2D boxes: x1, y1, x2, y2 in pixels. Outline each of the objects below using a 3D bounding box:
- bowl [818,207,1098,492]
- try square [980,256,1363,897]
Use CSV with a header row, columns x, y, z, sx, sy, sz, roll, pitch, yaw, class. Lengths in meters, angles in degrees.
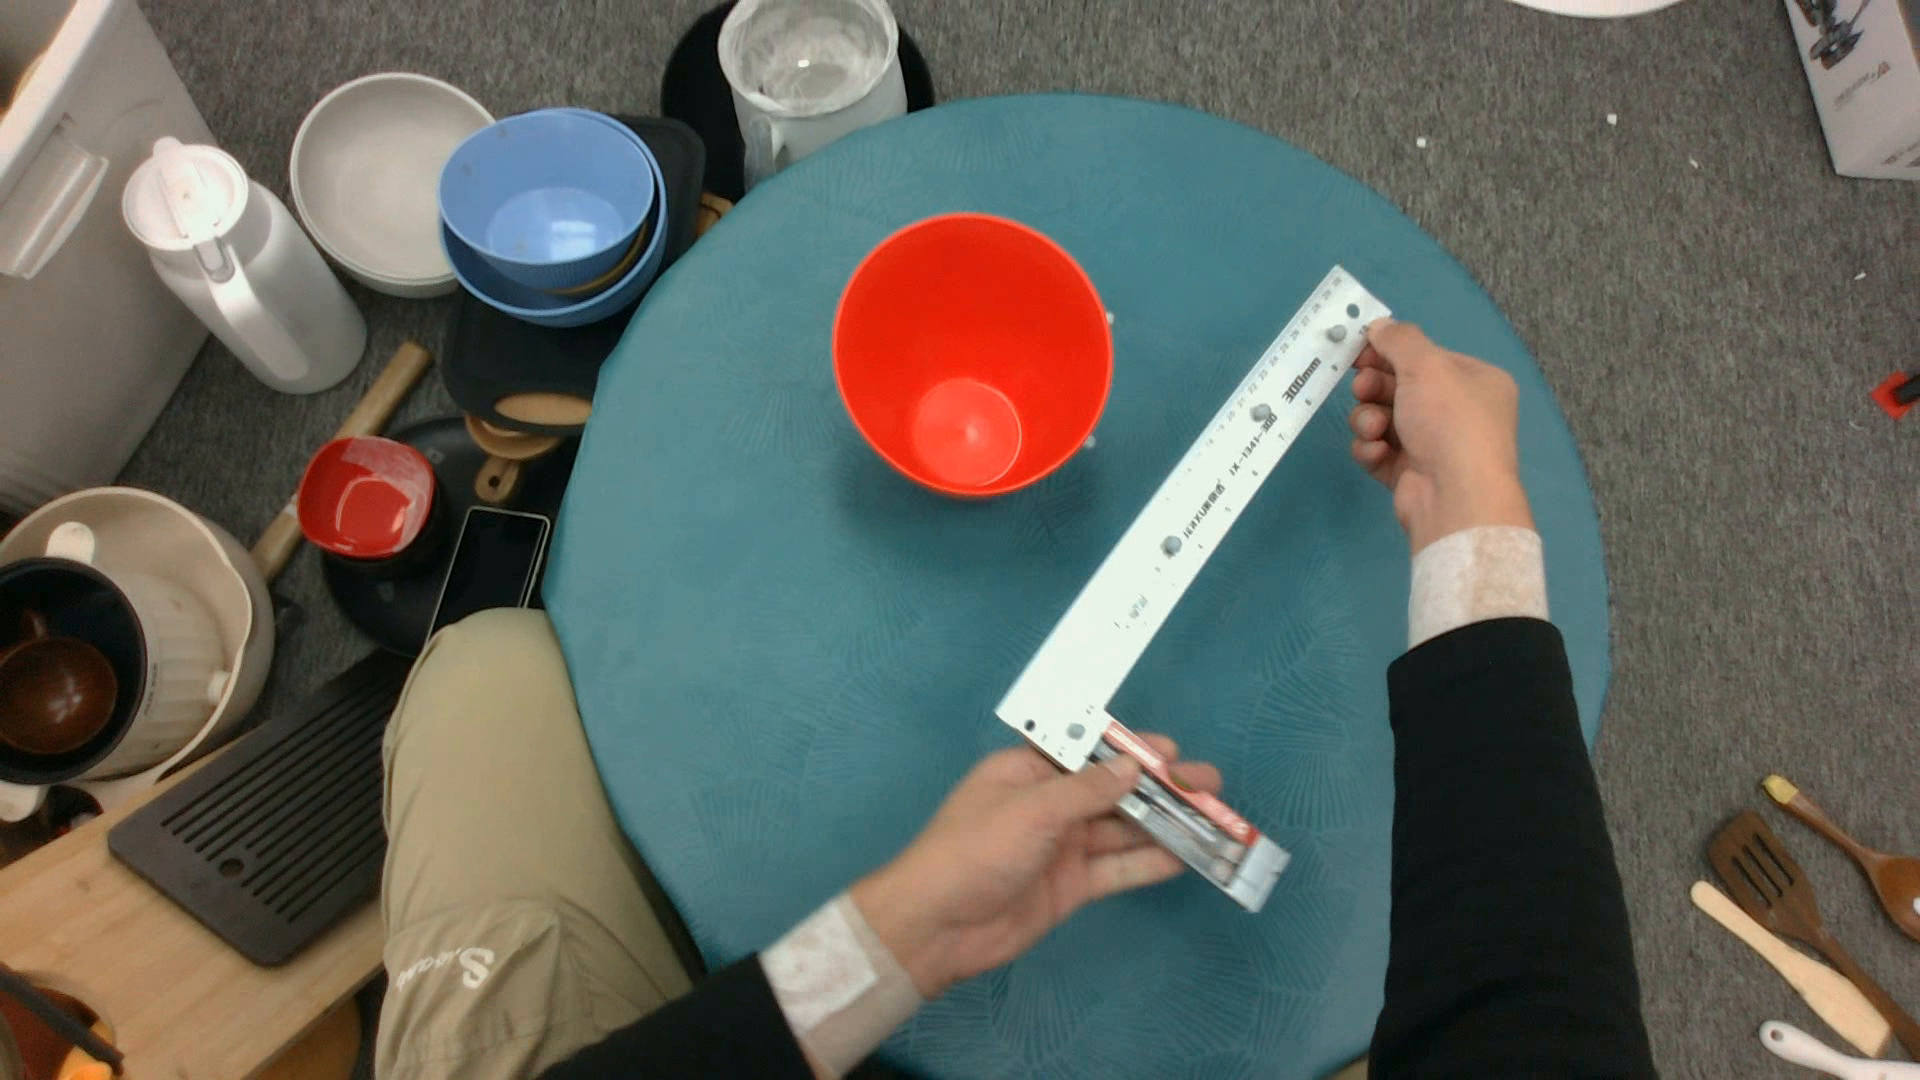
x,y,z,sx,sy,sz,roll,pitch,yaw,class
-0.004,-0.091,0.755,0.148,0.104,0.148,2,72,-6,bowl
0.156,0.009,0.707,0.152,0.016,0.314,39,72,-3,try square
